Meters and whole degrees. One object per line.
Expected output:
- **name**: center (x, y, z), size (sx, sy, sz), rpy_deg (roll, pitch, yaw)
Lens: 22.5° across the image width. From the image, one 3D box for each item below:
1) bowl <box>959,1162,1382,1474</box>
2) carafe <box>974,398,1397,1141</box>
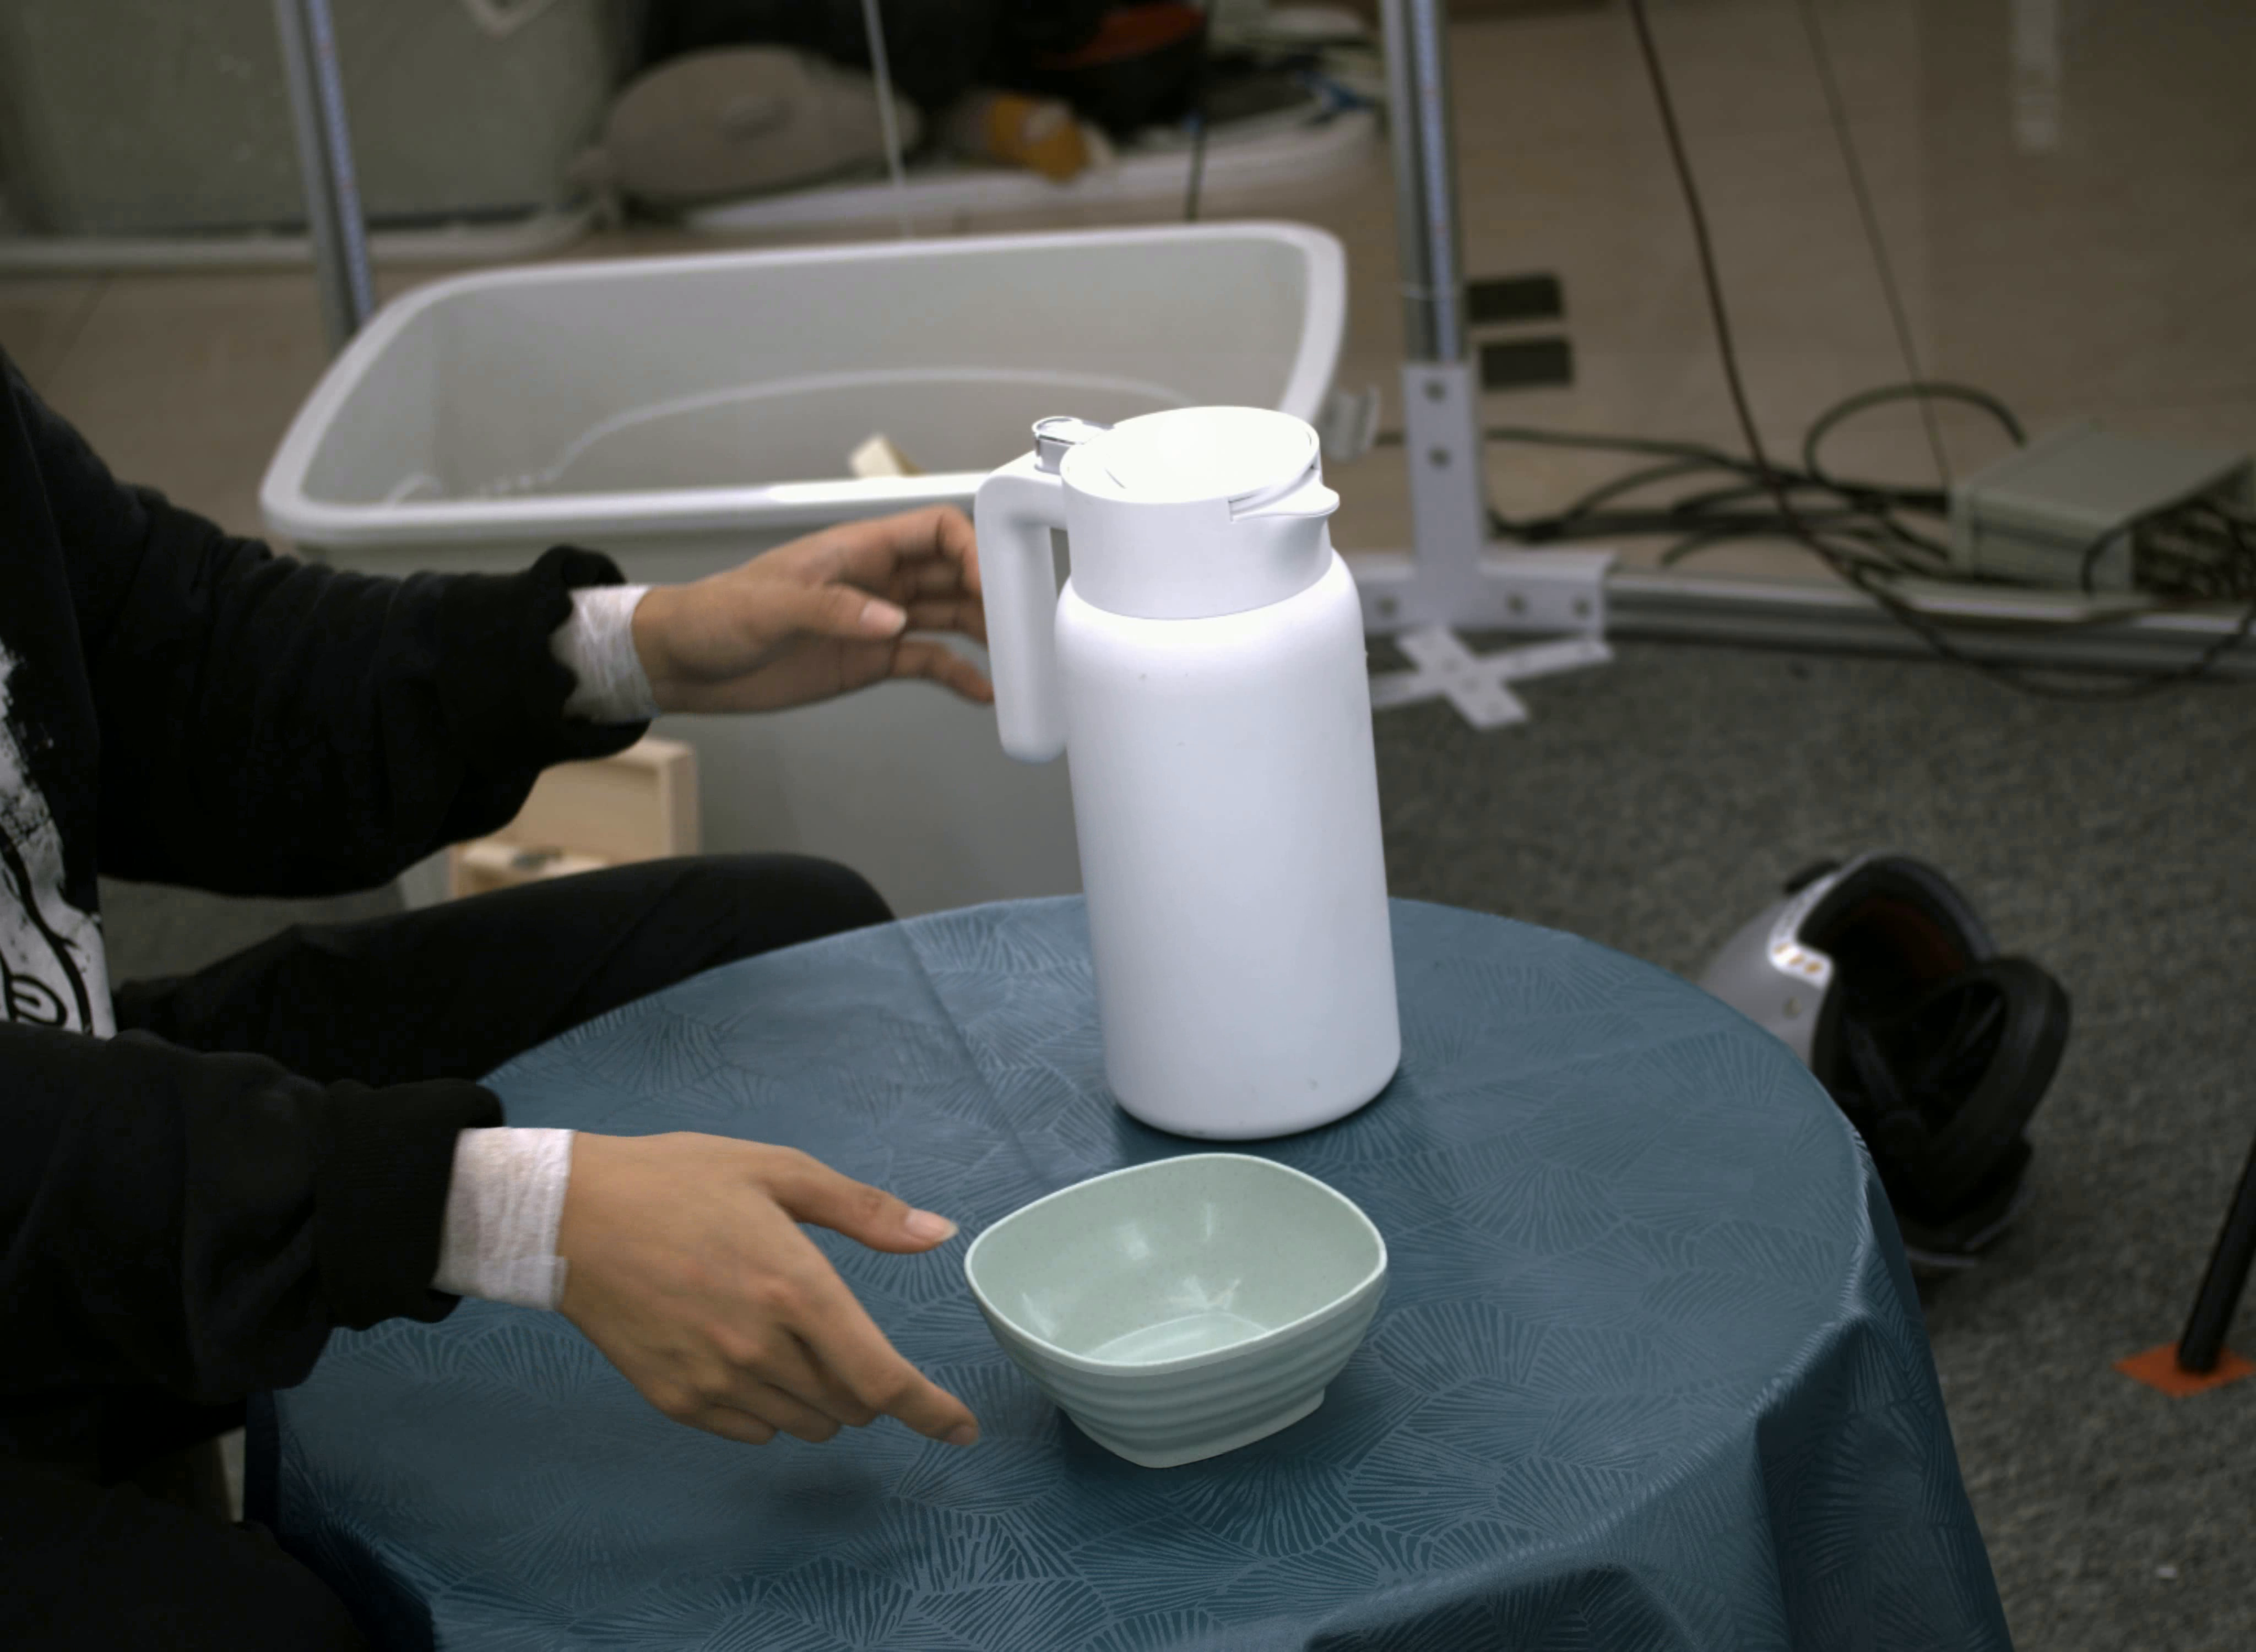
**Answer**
- **bowl**: center (0.017, 0.179, 1.998), size (0.151, 0.059, 0.149), rpy_deg (-5, 25, 3)
- **carafe**: center (0.022, -0.023, 2.171), size (0.172, 0.273, 0.122), rpy_deg (15, 35, 37)
